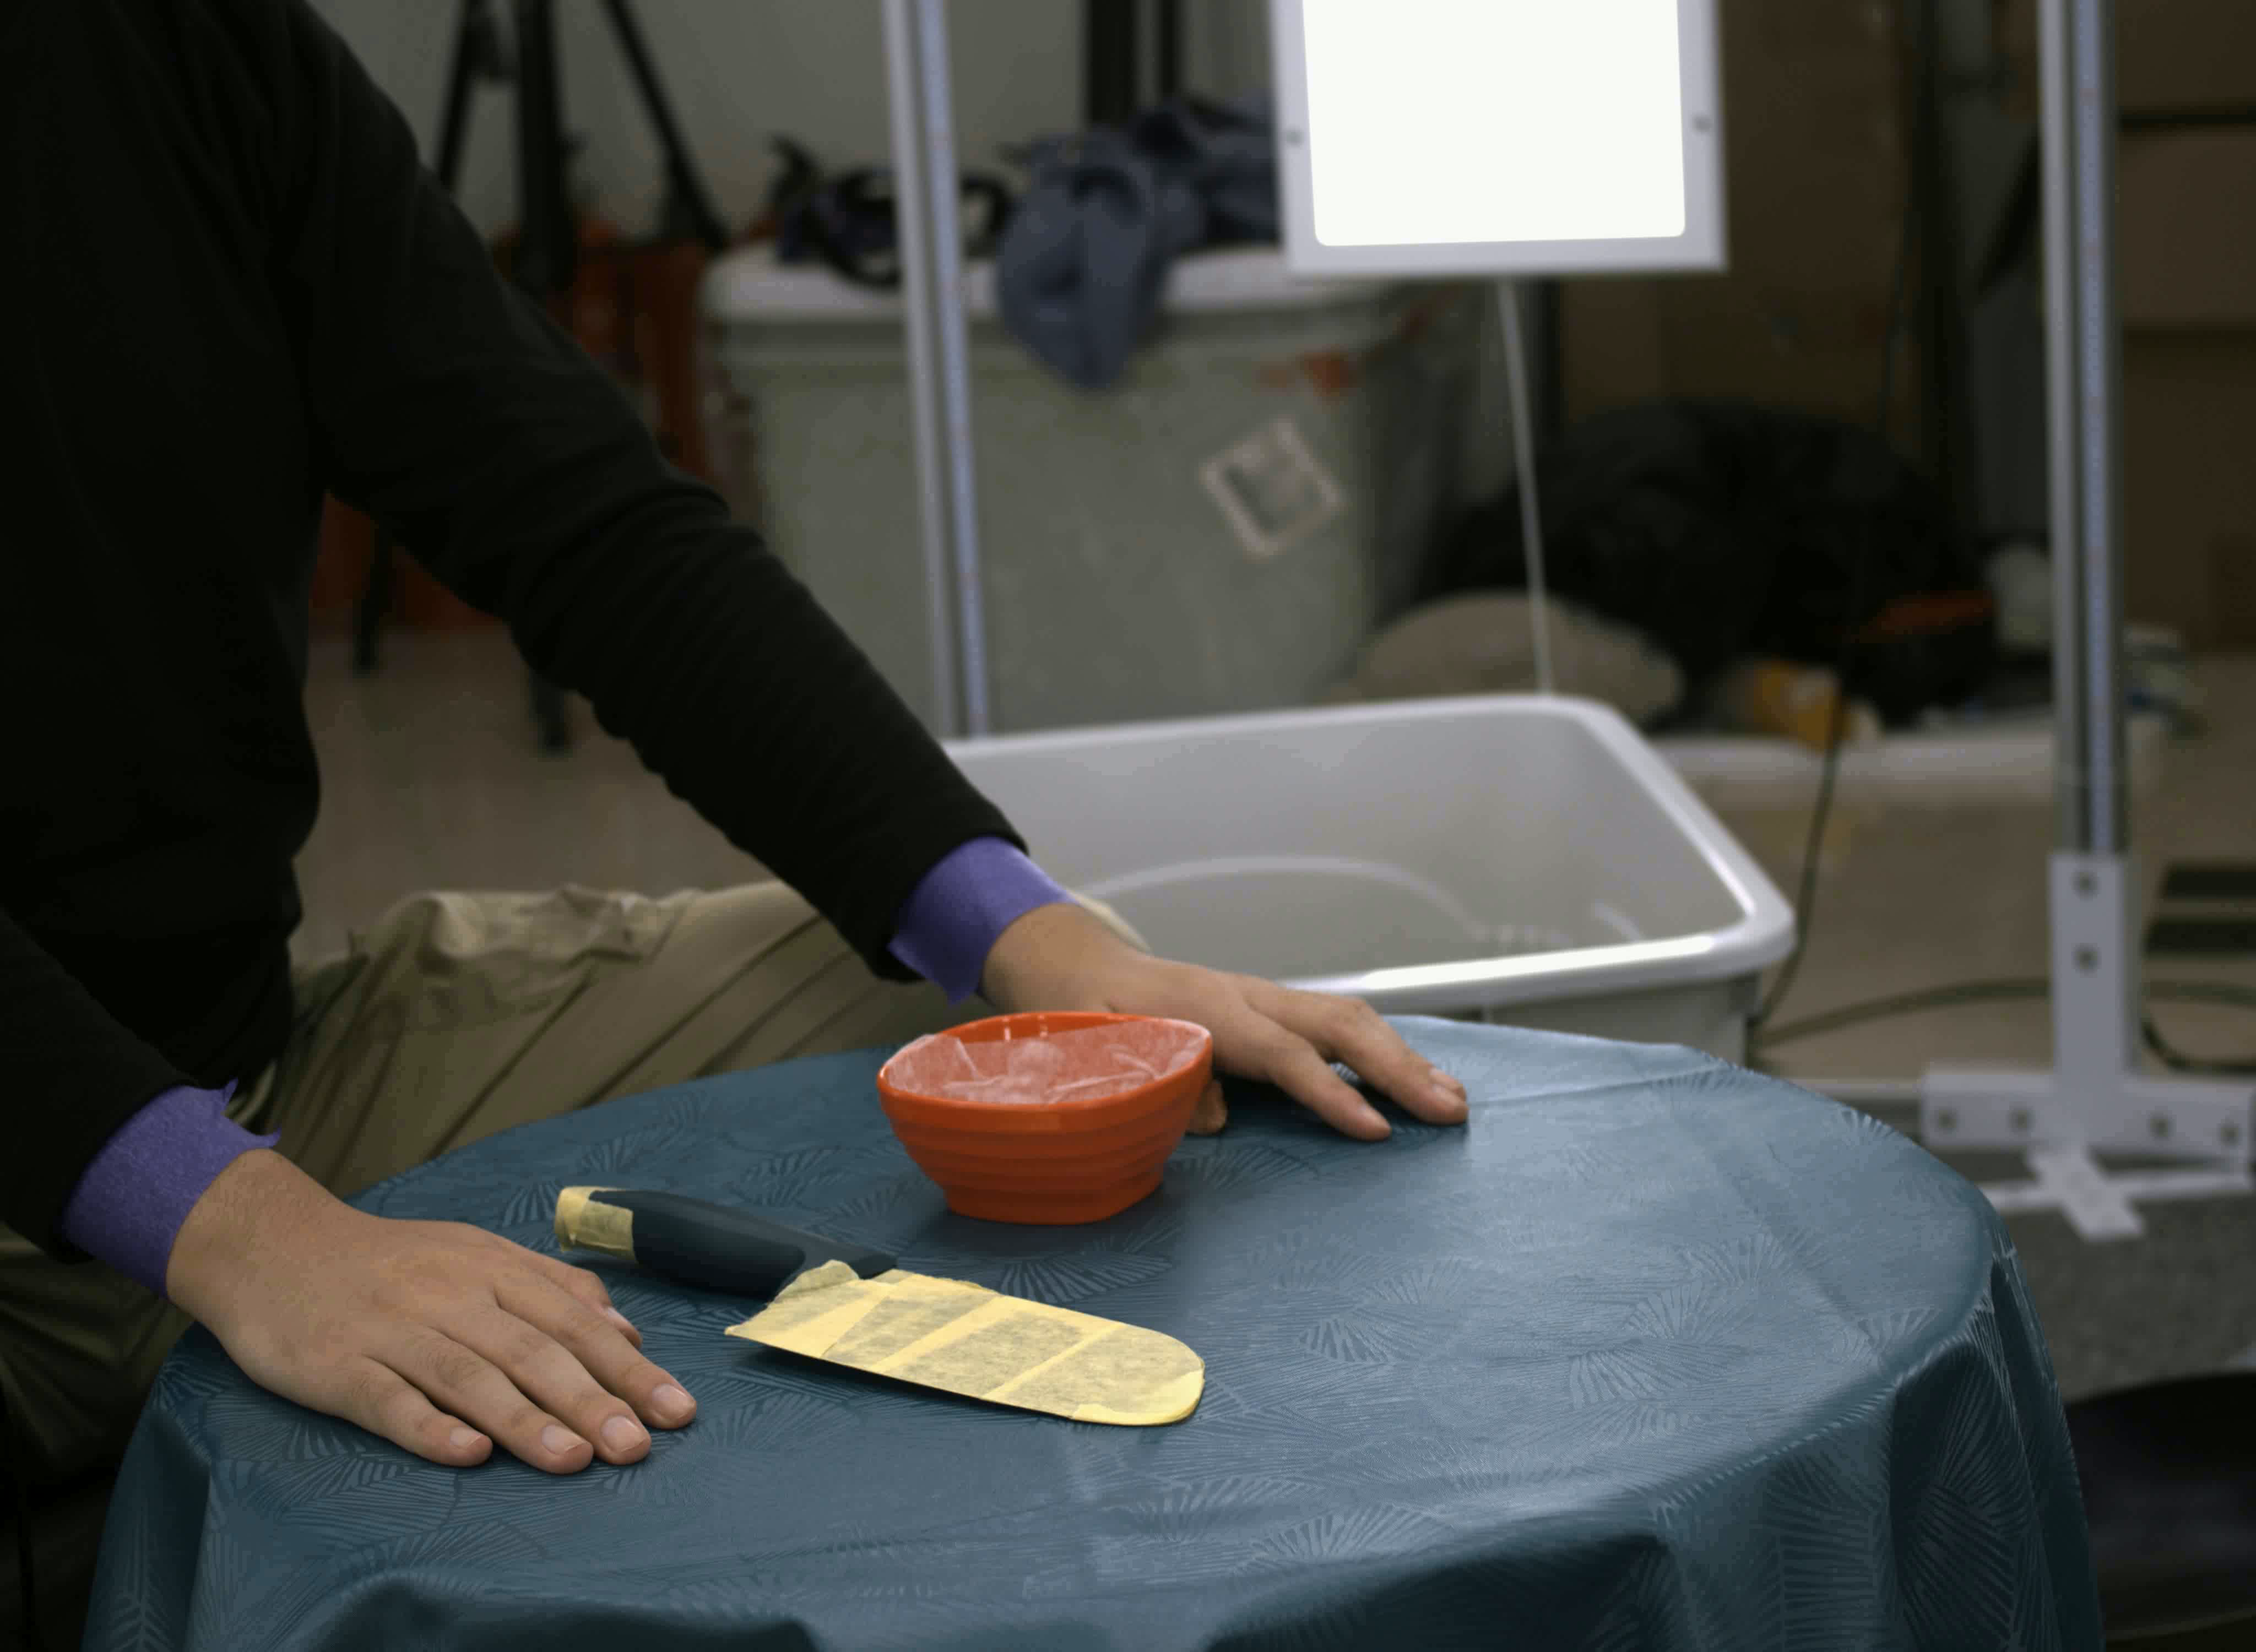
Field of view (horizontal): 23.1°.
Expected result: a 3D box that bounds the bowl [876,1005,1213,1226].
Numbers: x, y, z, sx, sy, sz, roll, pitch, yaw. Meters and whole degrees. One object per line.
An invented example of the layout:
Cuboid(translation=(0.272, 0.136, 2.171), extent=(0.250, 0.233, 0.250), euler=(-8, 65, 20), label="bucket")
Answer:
Cuboid(translation=(-0.027, 0.102, 1.898), extent=(0.118, 0.051, 0.119), euler=(-5, 16, 0), label="bowl")

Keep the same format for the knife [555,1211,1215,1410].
Cuboid(translation=(-0.087, 0.158, 1.776), extent=(0.296, 0.027, 0.079), euler=(8, 17, 41), label="knife")
